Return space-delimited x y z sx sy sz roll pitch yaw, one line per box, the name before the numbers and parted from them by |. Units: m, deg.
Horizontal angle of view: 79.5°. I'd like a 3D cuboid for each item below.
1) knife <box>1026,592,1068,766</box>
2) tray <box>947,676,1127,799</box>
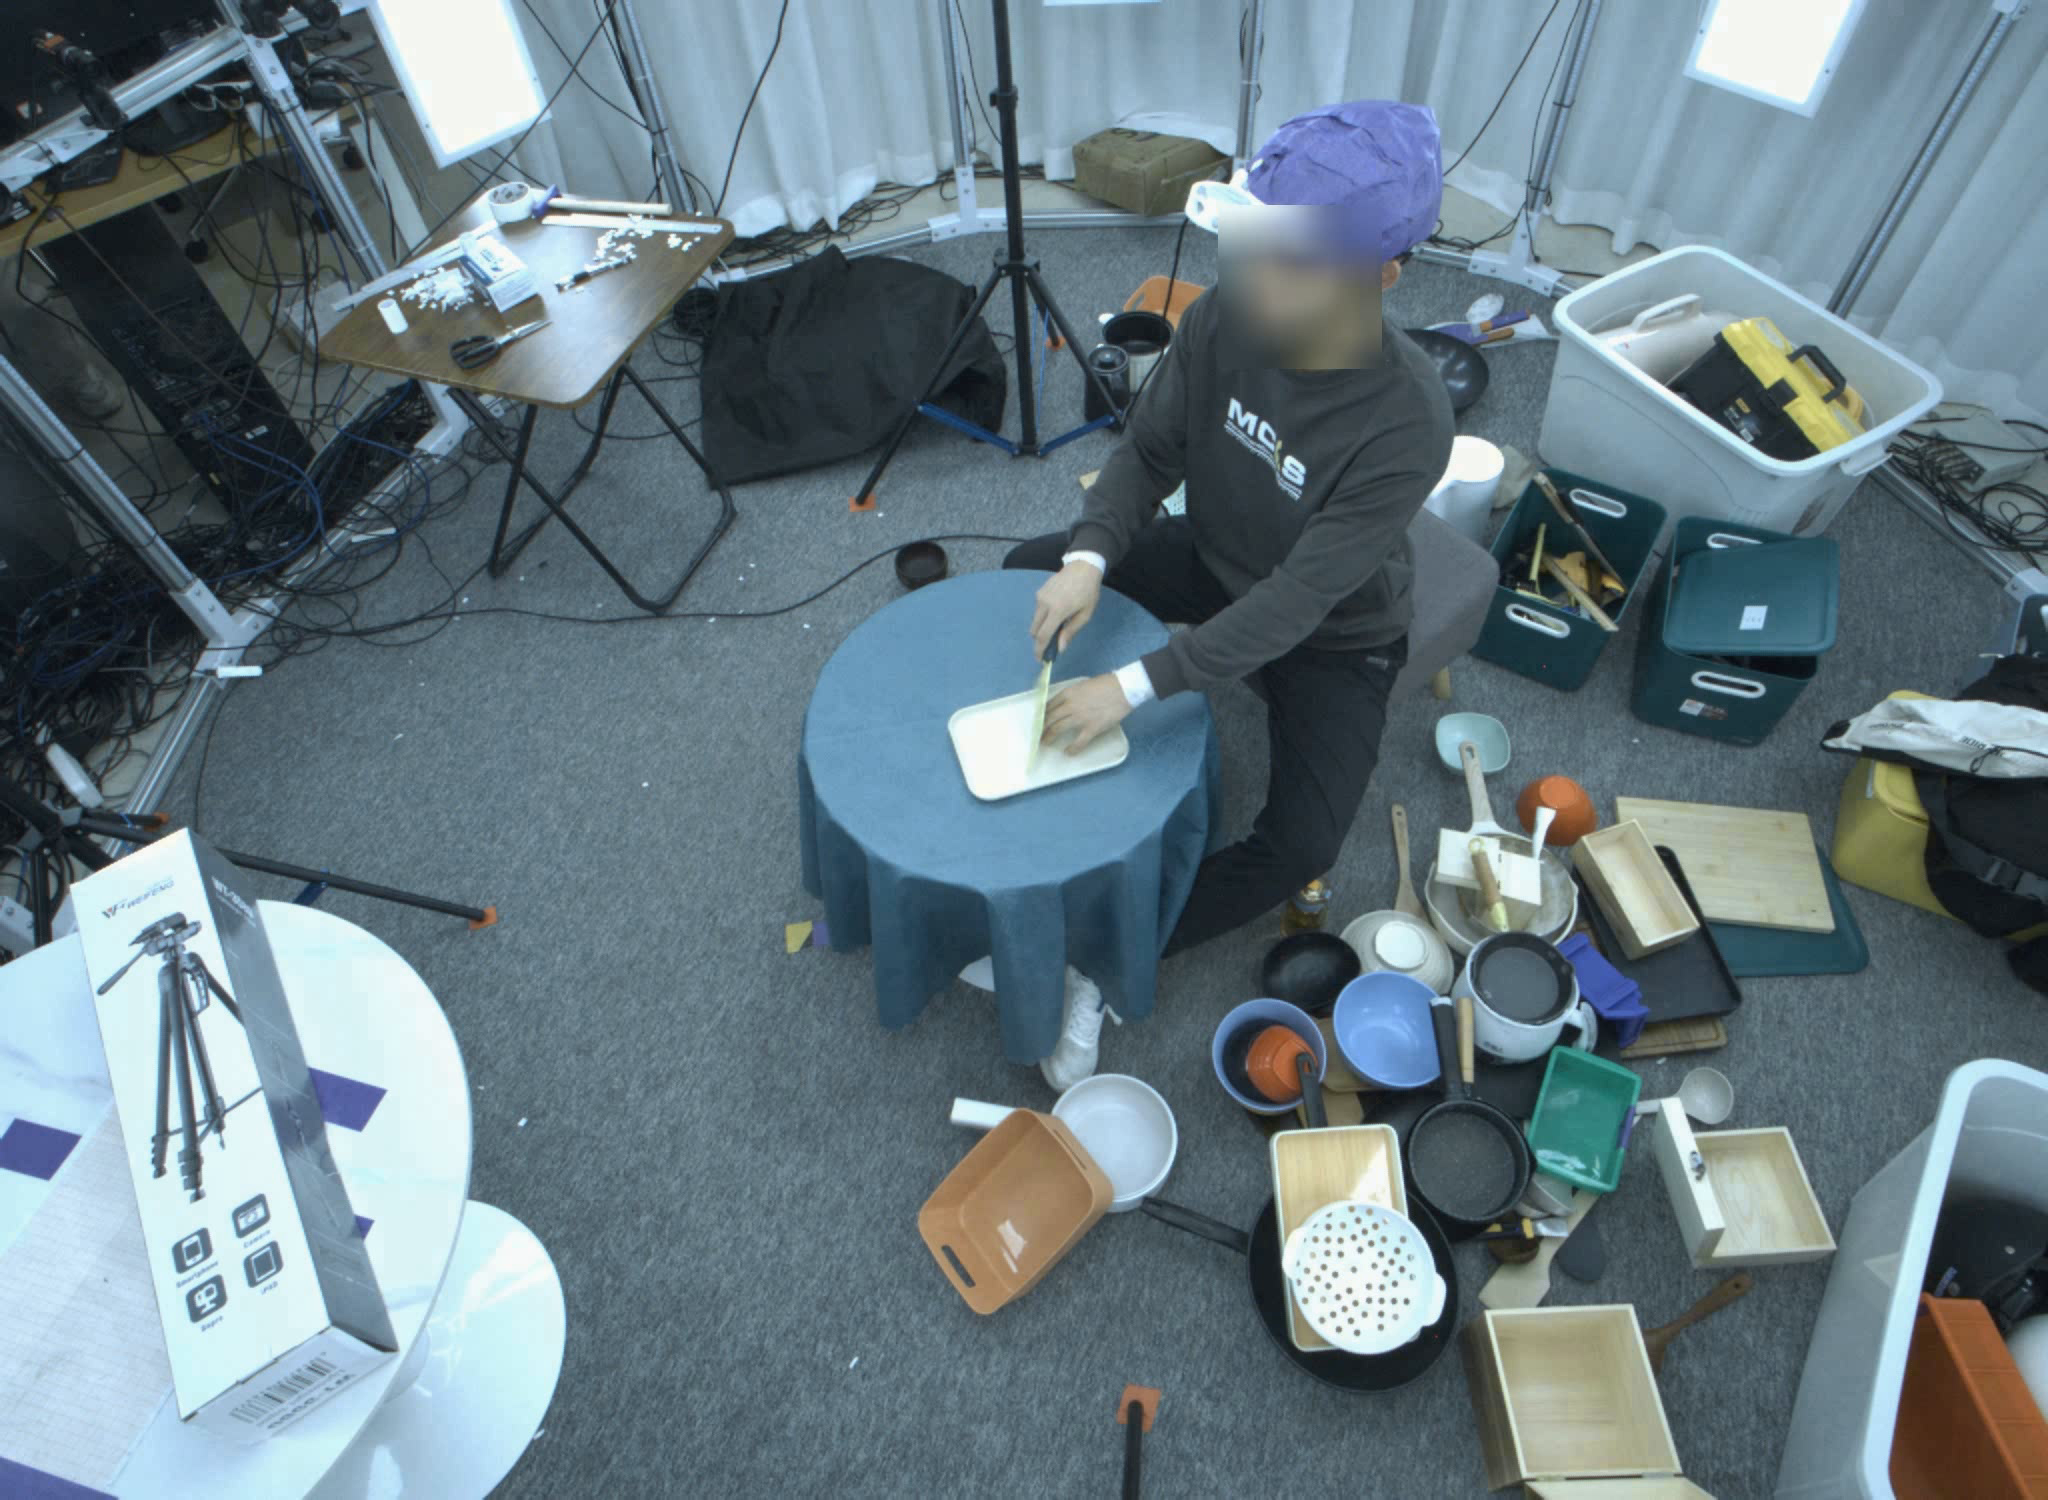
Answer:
knife | 0.030 -0.104 1.786 0.027 0.081 0.288 16 63 -10
tray | 0.019 -0.018 1.797 0.241 0.017 0.168 -16 55 -10
